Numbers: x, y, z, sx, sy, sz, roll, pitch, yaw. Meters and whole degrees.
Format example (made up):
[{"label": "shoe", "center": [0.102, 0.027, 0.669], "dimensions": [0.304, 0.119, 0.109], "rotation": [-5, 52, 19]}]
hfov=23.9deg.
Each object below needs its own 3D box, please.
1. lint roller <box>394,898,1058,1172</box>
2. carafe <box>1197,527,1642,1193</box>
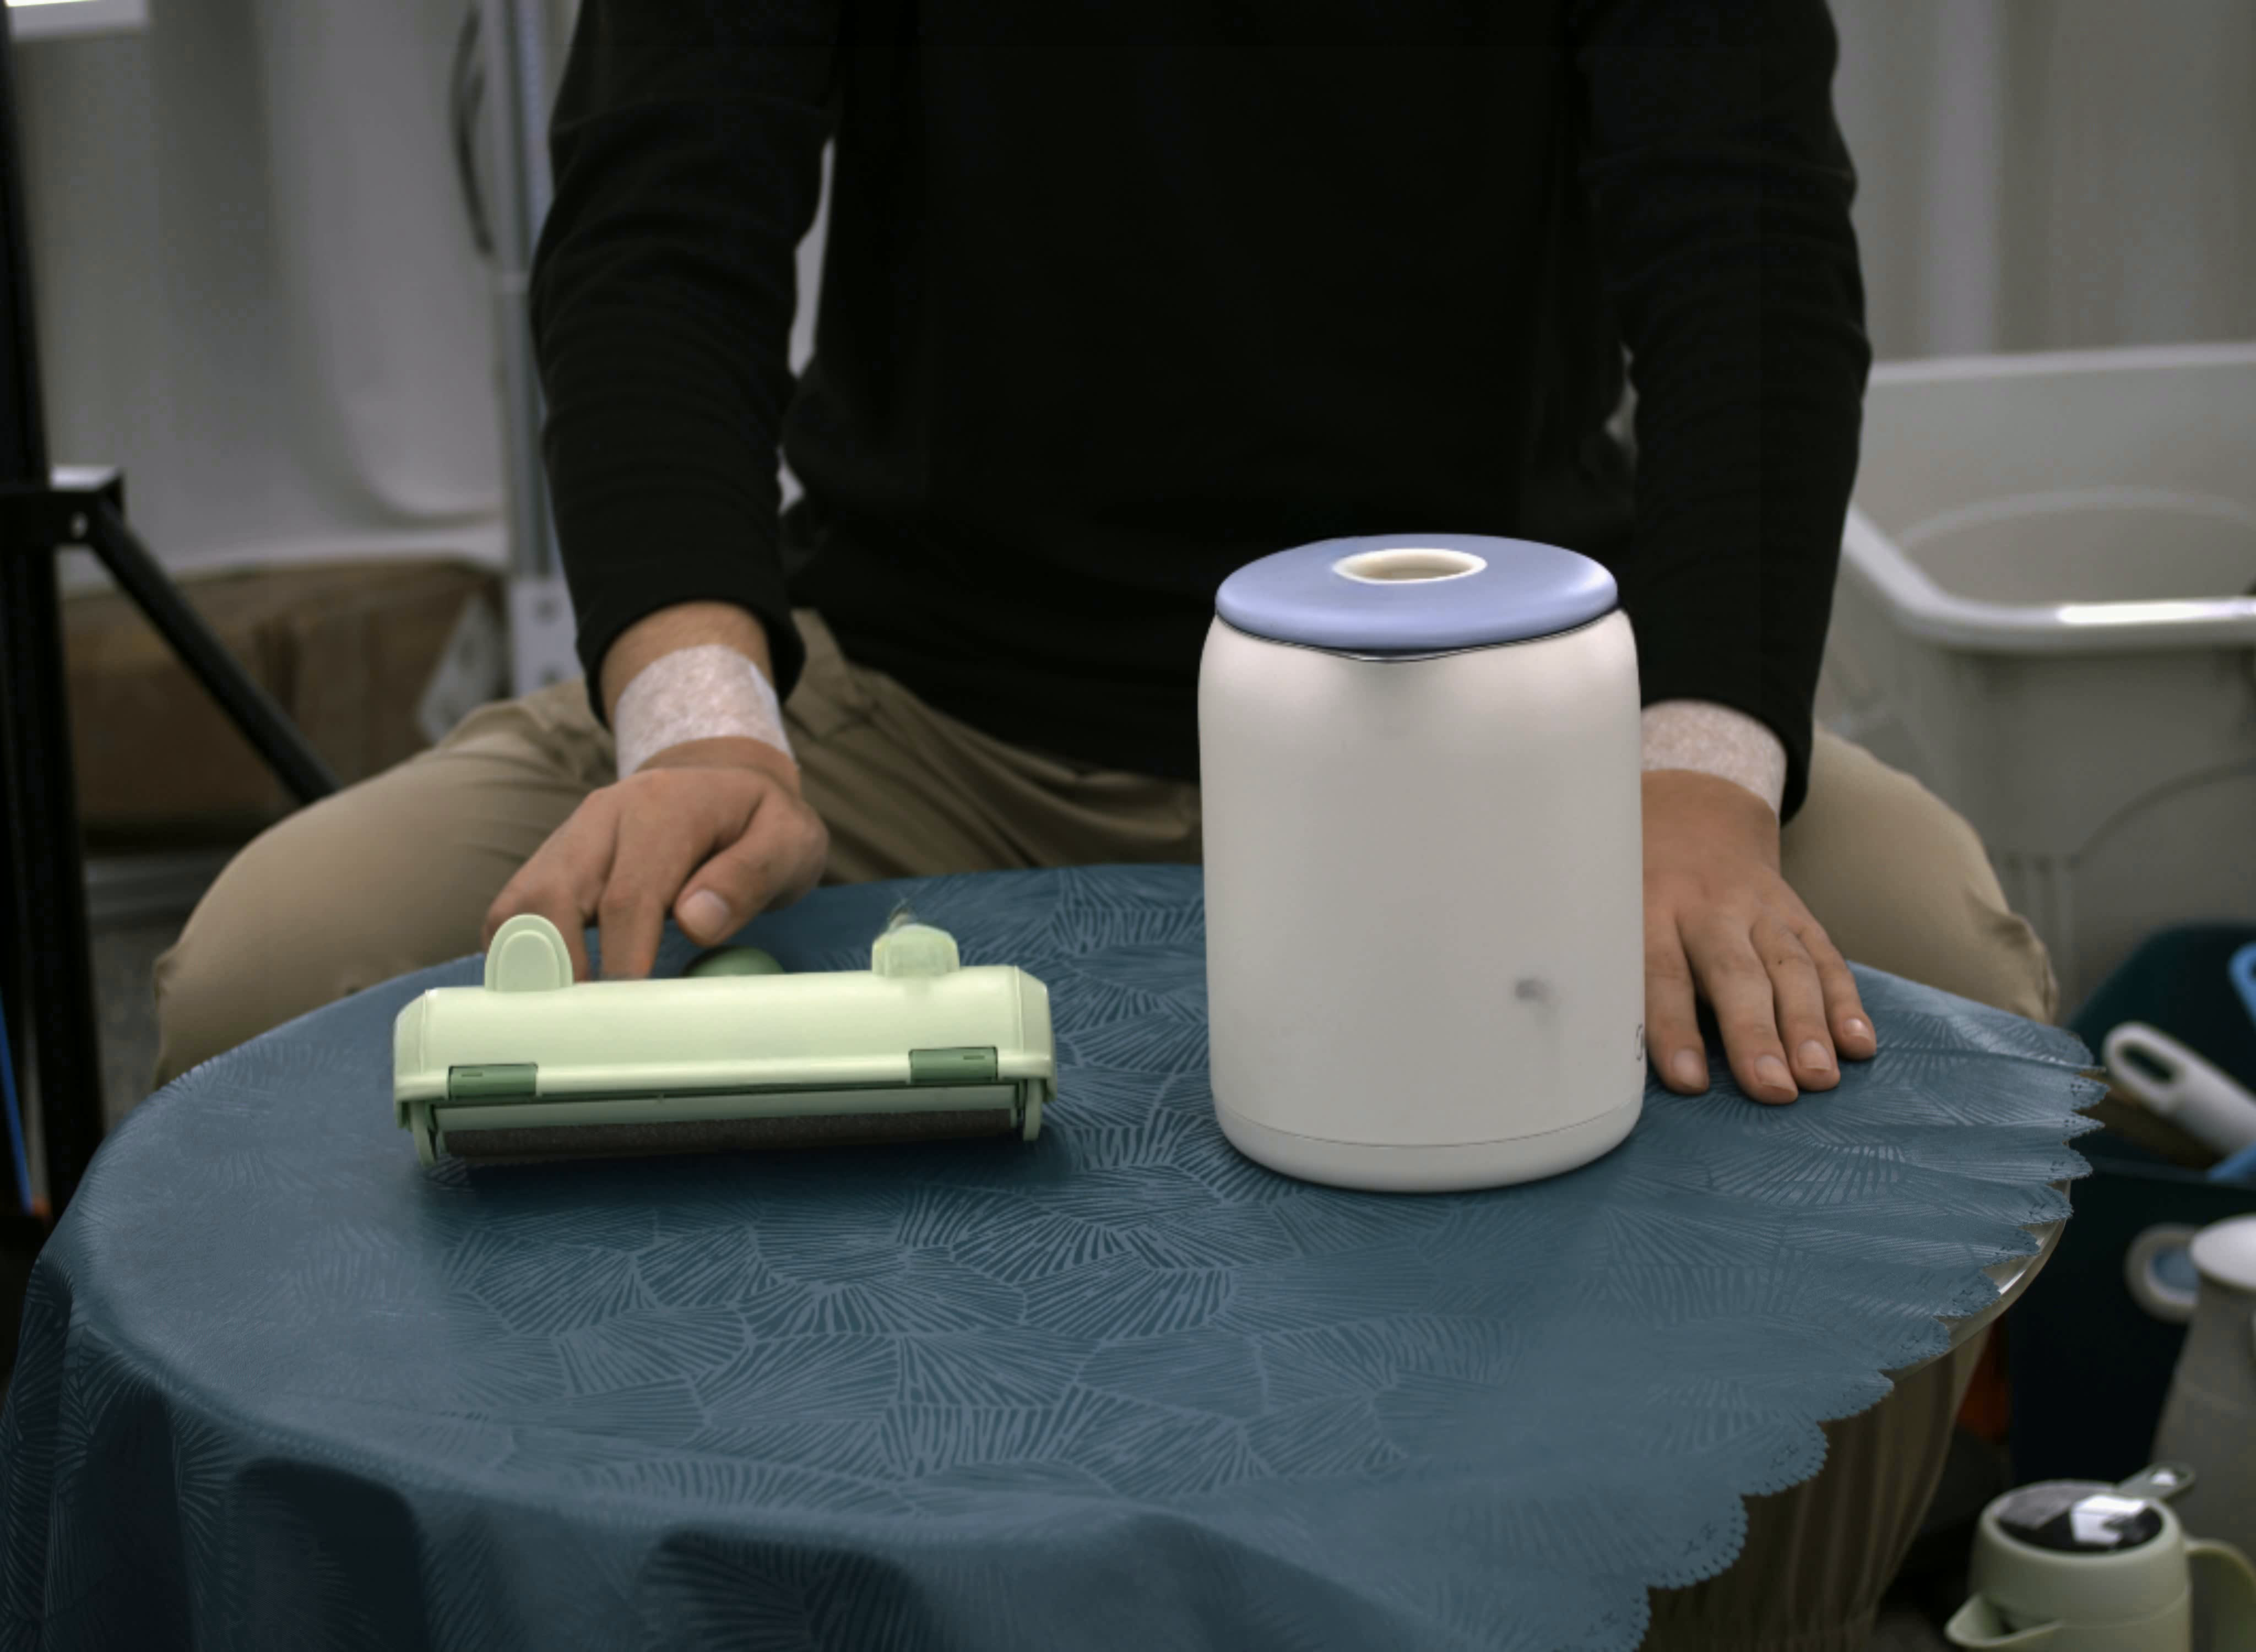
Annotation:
[{"label": "lint roller", "center": [-0.123, 0.048, 1.647], "dimensions": [0.197, 0.082, 0.184], "rotation": [-2, 18, -2]}, {"label": "carafe", "center": [0.090, 0.003, 1.599], "dimensions": [0.132, 0.182, 0.190], "rotation": [1, 13, 8]}]
